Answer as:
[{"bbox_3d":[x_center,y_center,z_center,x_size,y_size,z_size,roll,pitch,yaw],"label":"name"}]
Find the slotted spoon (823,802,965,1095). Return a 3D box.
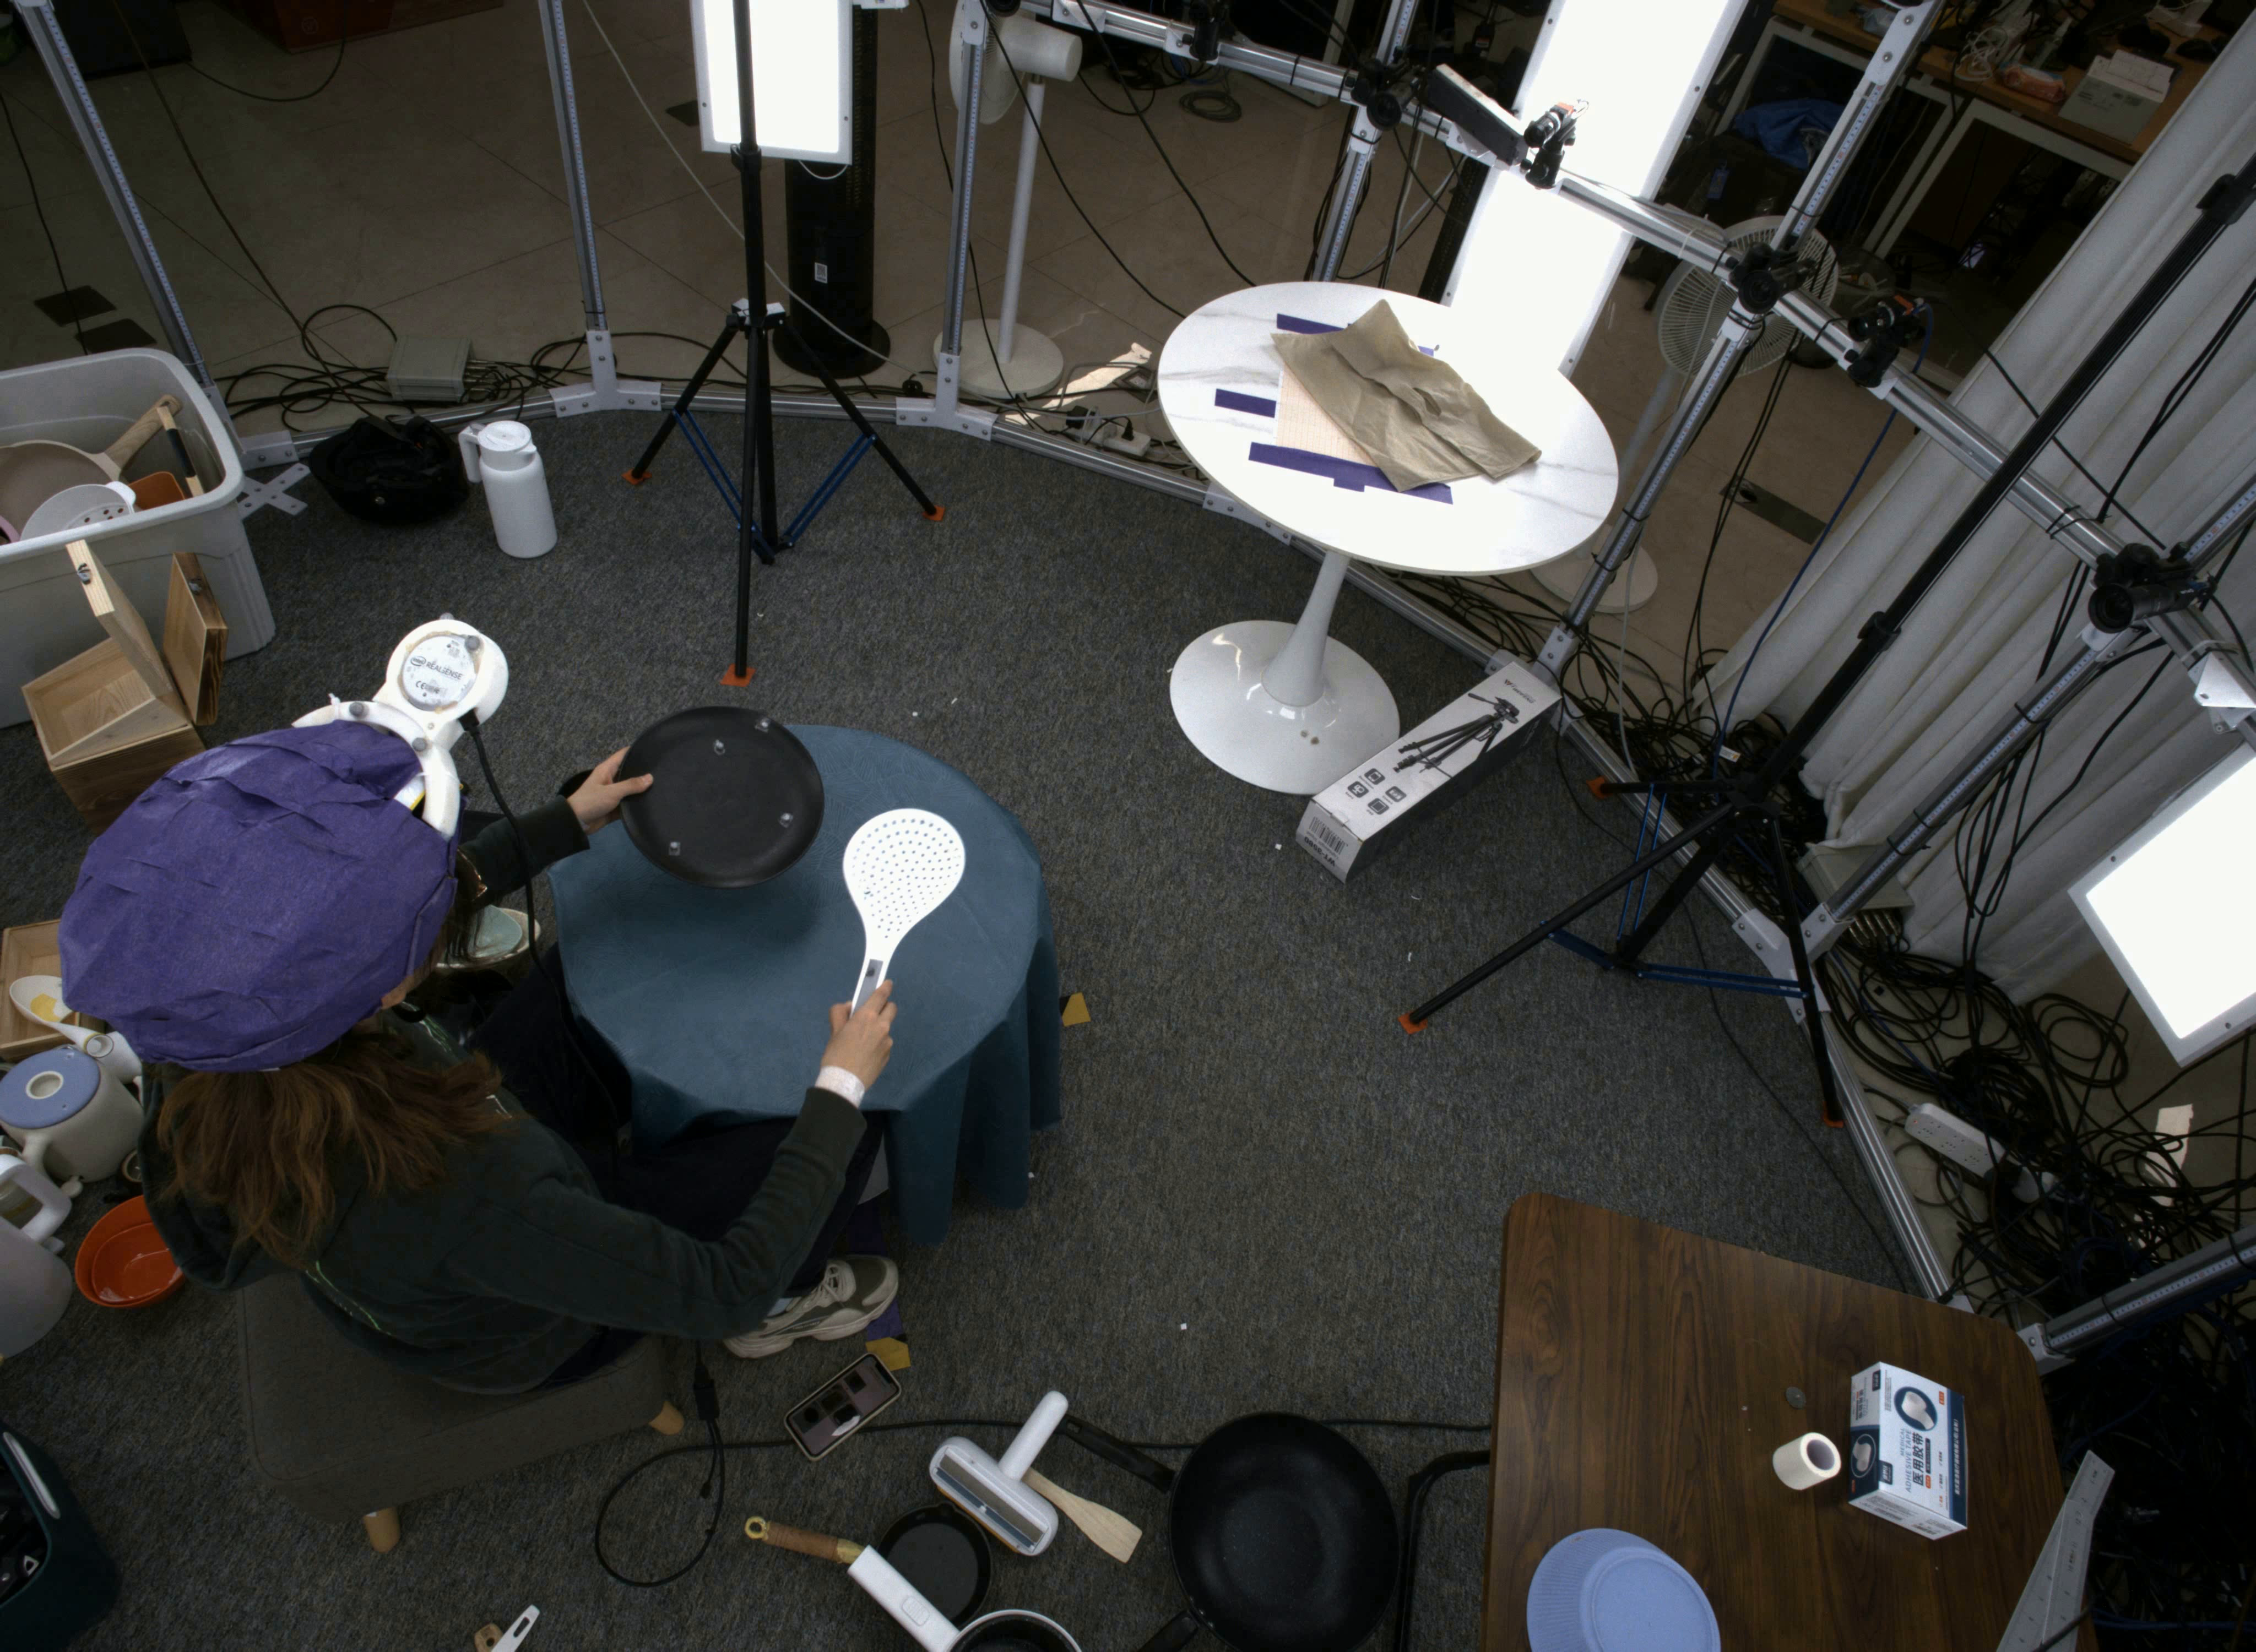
[{"bbox_3d":[-0.272,0.127,1.433,0.134,0.047,0.345,11,57,2],"label":"slotted spoon"}]

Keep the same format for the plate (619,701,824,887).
[{"bbox_3d":[-0.491,-0.038,1.560,0.247,0.023,0.242,11,65,-21],"label":"plate"}]
